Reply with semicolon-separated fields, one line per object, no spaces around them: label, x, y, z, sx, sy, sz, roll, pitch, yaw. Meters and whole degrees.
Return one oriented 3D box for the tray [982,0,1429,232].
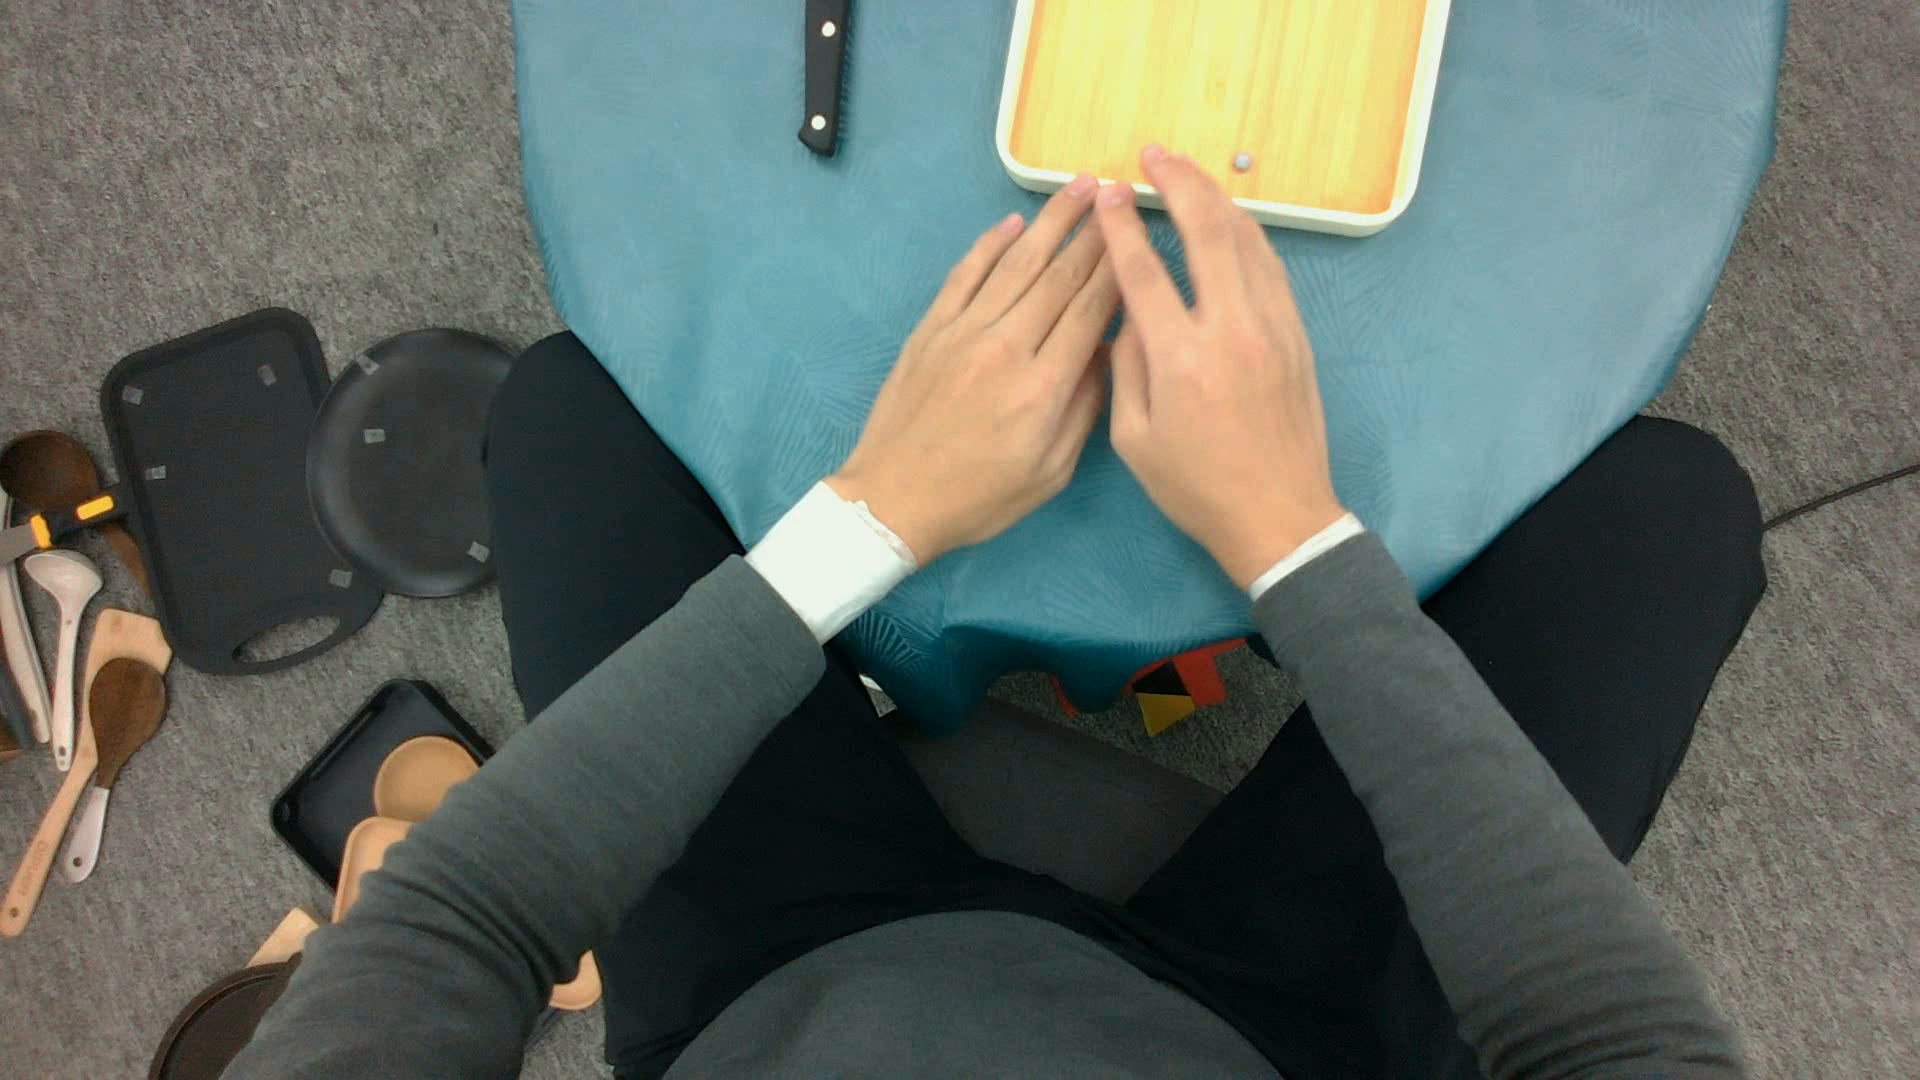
tray;0.127;-0.303;0.644;0.191;0.027;0.300;10;88;7

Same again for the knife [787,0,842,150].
knife;-0.064;-0.305;0.668;0.024;0.016;0.238;4;85;4
